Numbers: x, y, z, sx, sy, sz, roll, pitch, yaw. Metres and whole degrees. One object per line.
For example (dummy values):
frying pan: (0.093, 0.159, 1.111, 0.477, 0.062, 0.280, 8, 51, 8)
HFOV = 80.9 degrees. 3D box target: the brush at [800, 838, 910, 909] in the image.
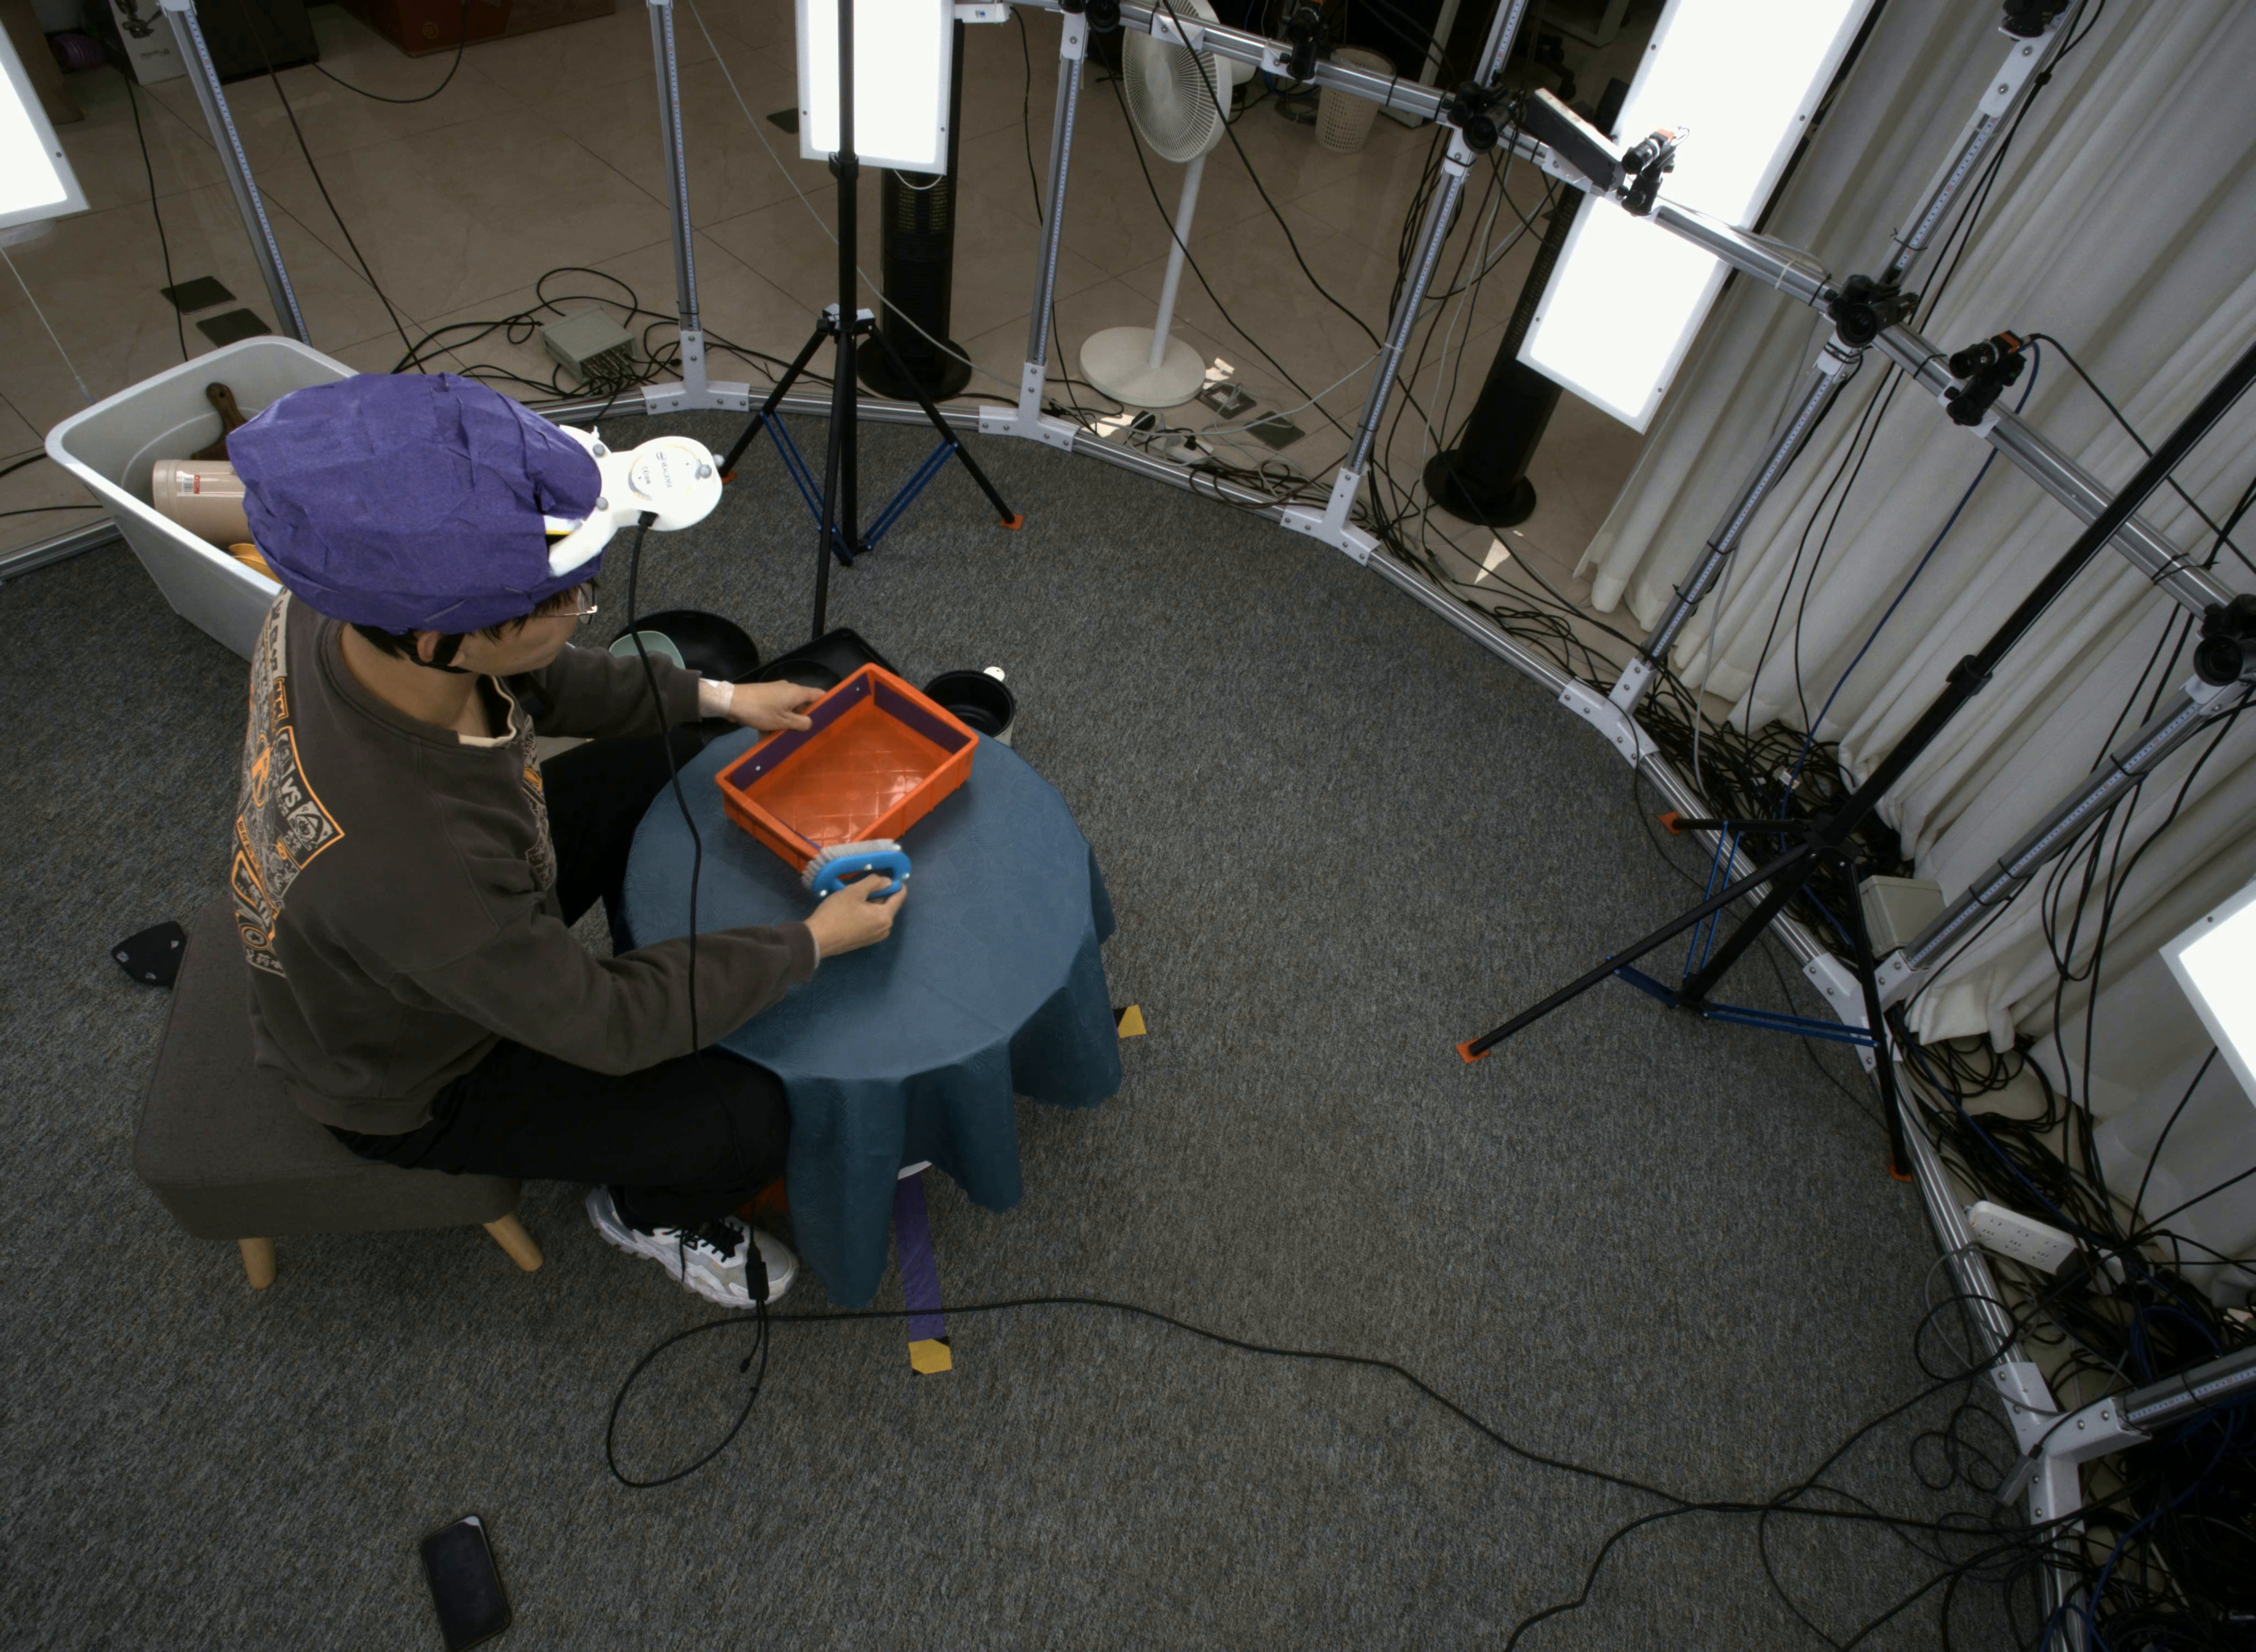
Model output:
brush: (-0.332, 0.067, 1.618, 0.144, 0.086, 0.061, -6, 40, -43)

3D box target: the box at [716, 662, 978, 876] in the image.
box: (-0.372, -0.062, 1.742, 0.202, 0.098, 0.303, 36, 54, 14)
